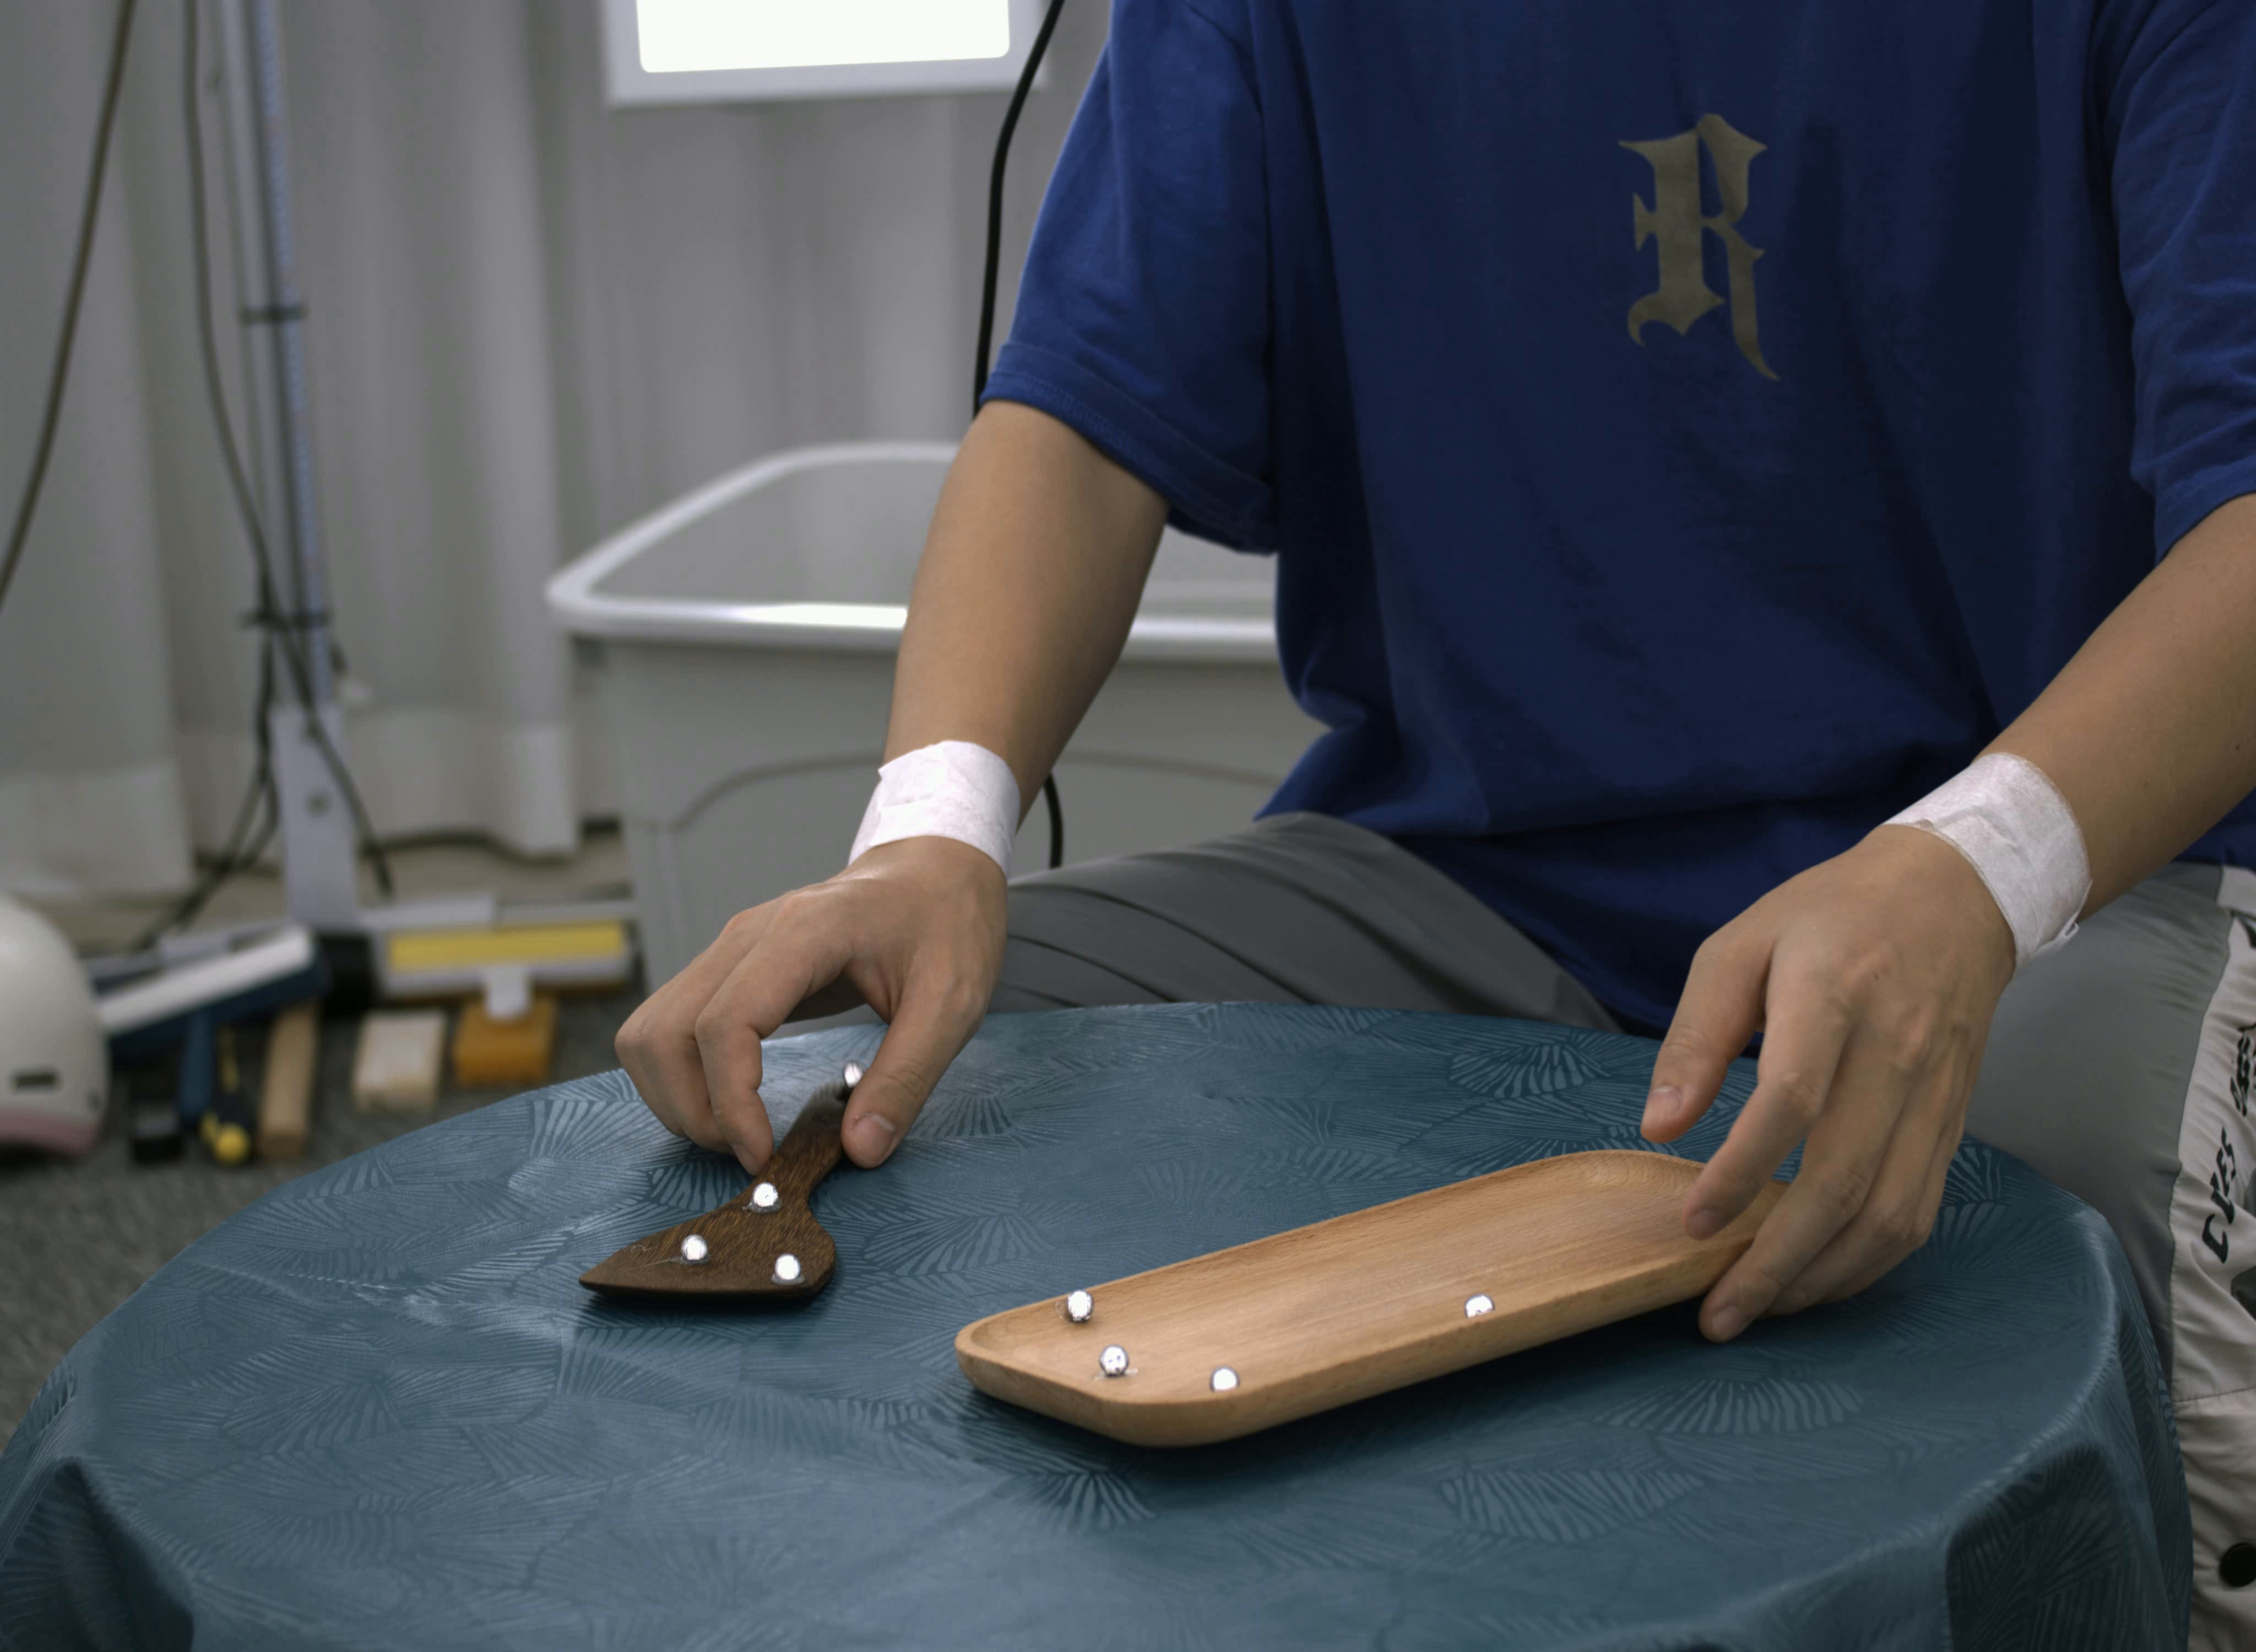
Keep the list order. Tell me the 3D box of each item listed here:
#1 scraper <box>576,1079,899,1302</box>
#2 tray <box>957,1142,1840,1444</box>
[{"bbox_3d":[-0.109,0.114,1.715,0.076,0.011,0.212,2,16,12],"label":"scraper"},{"bbox_3d":[0.079,0.132,1.568,0.250,0.023,0.131,-12,14,-30],"label":"tray"}]
